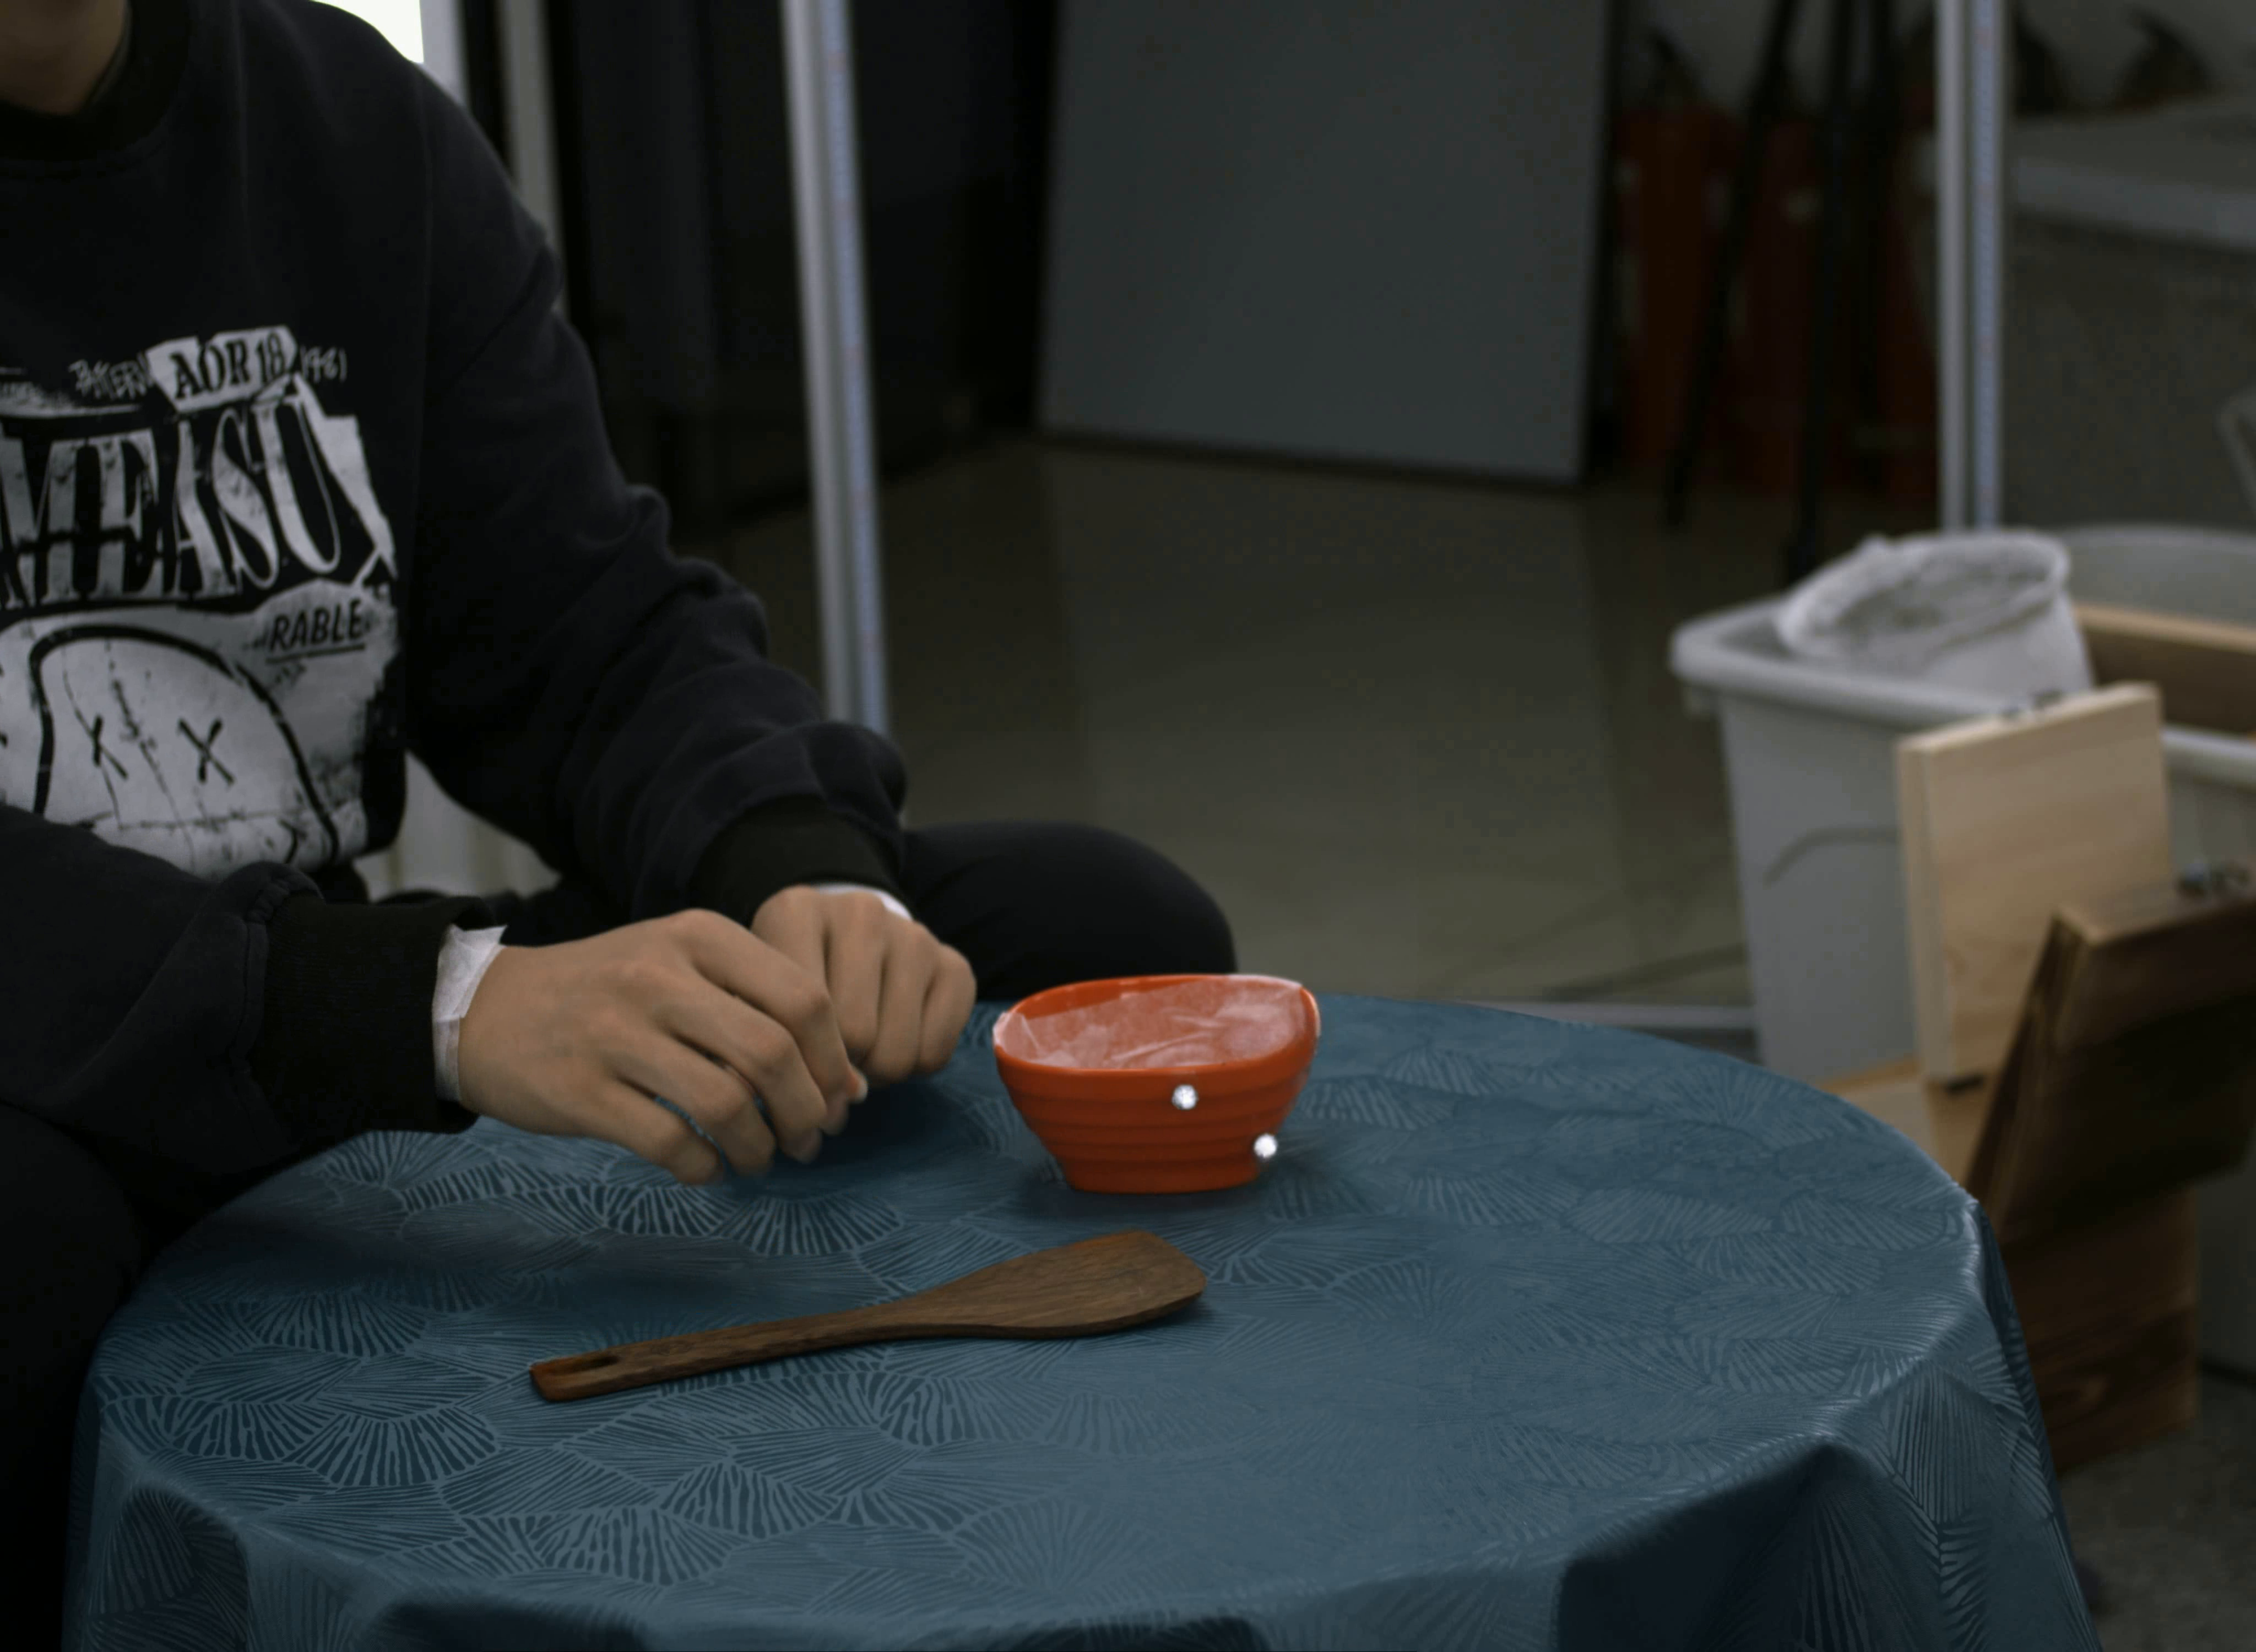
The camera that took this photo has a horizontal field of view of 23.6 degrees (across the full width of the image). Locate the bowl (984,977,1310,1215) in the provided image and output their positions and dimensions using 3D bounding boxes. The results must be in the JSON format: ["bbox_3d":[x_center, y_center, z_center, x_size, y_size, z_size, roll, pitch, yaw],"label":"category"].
[{"bbox_3d":[0.009,0.093,1.793,0.117,0.052,0.119,-6,17,1],"label":"bowl"}]

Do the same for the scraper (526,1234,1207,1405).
[{"bbox_3d":[-0.080,0.154,1.647,0.207,0.011,0.076,-9,14,-16],"label":"scraper"}]
